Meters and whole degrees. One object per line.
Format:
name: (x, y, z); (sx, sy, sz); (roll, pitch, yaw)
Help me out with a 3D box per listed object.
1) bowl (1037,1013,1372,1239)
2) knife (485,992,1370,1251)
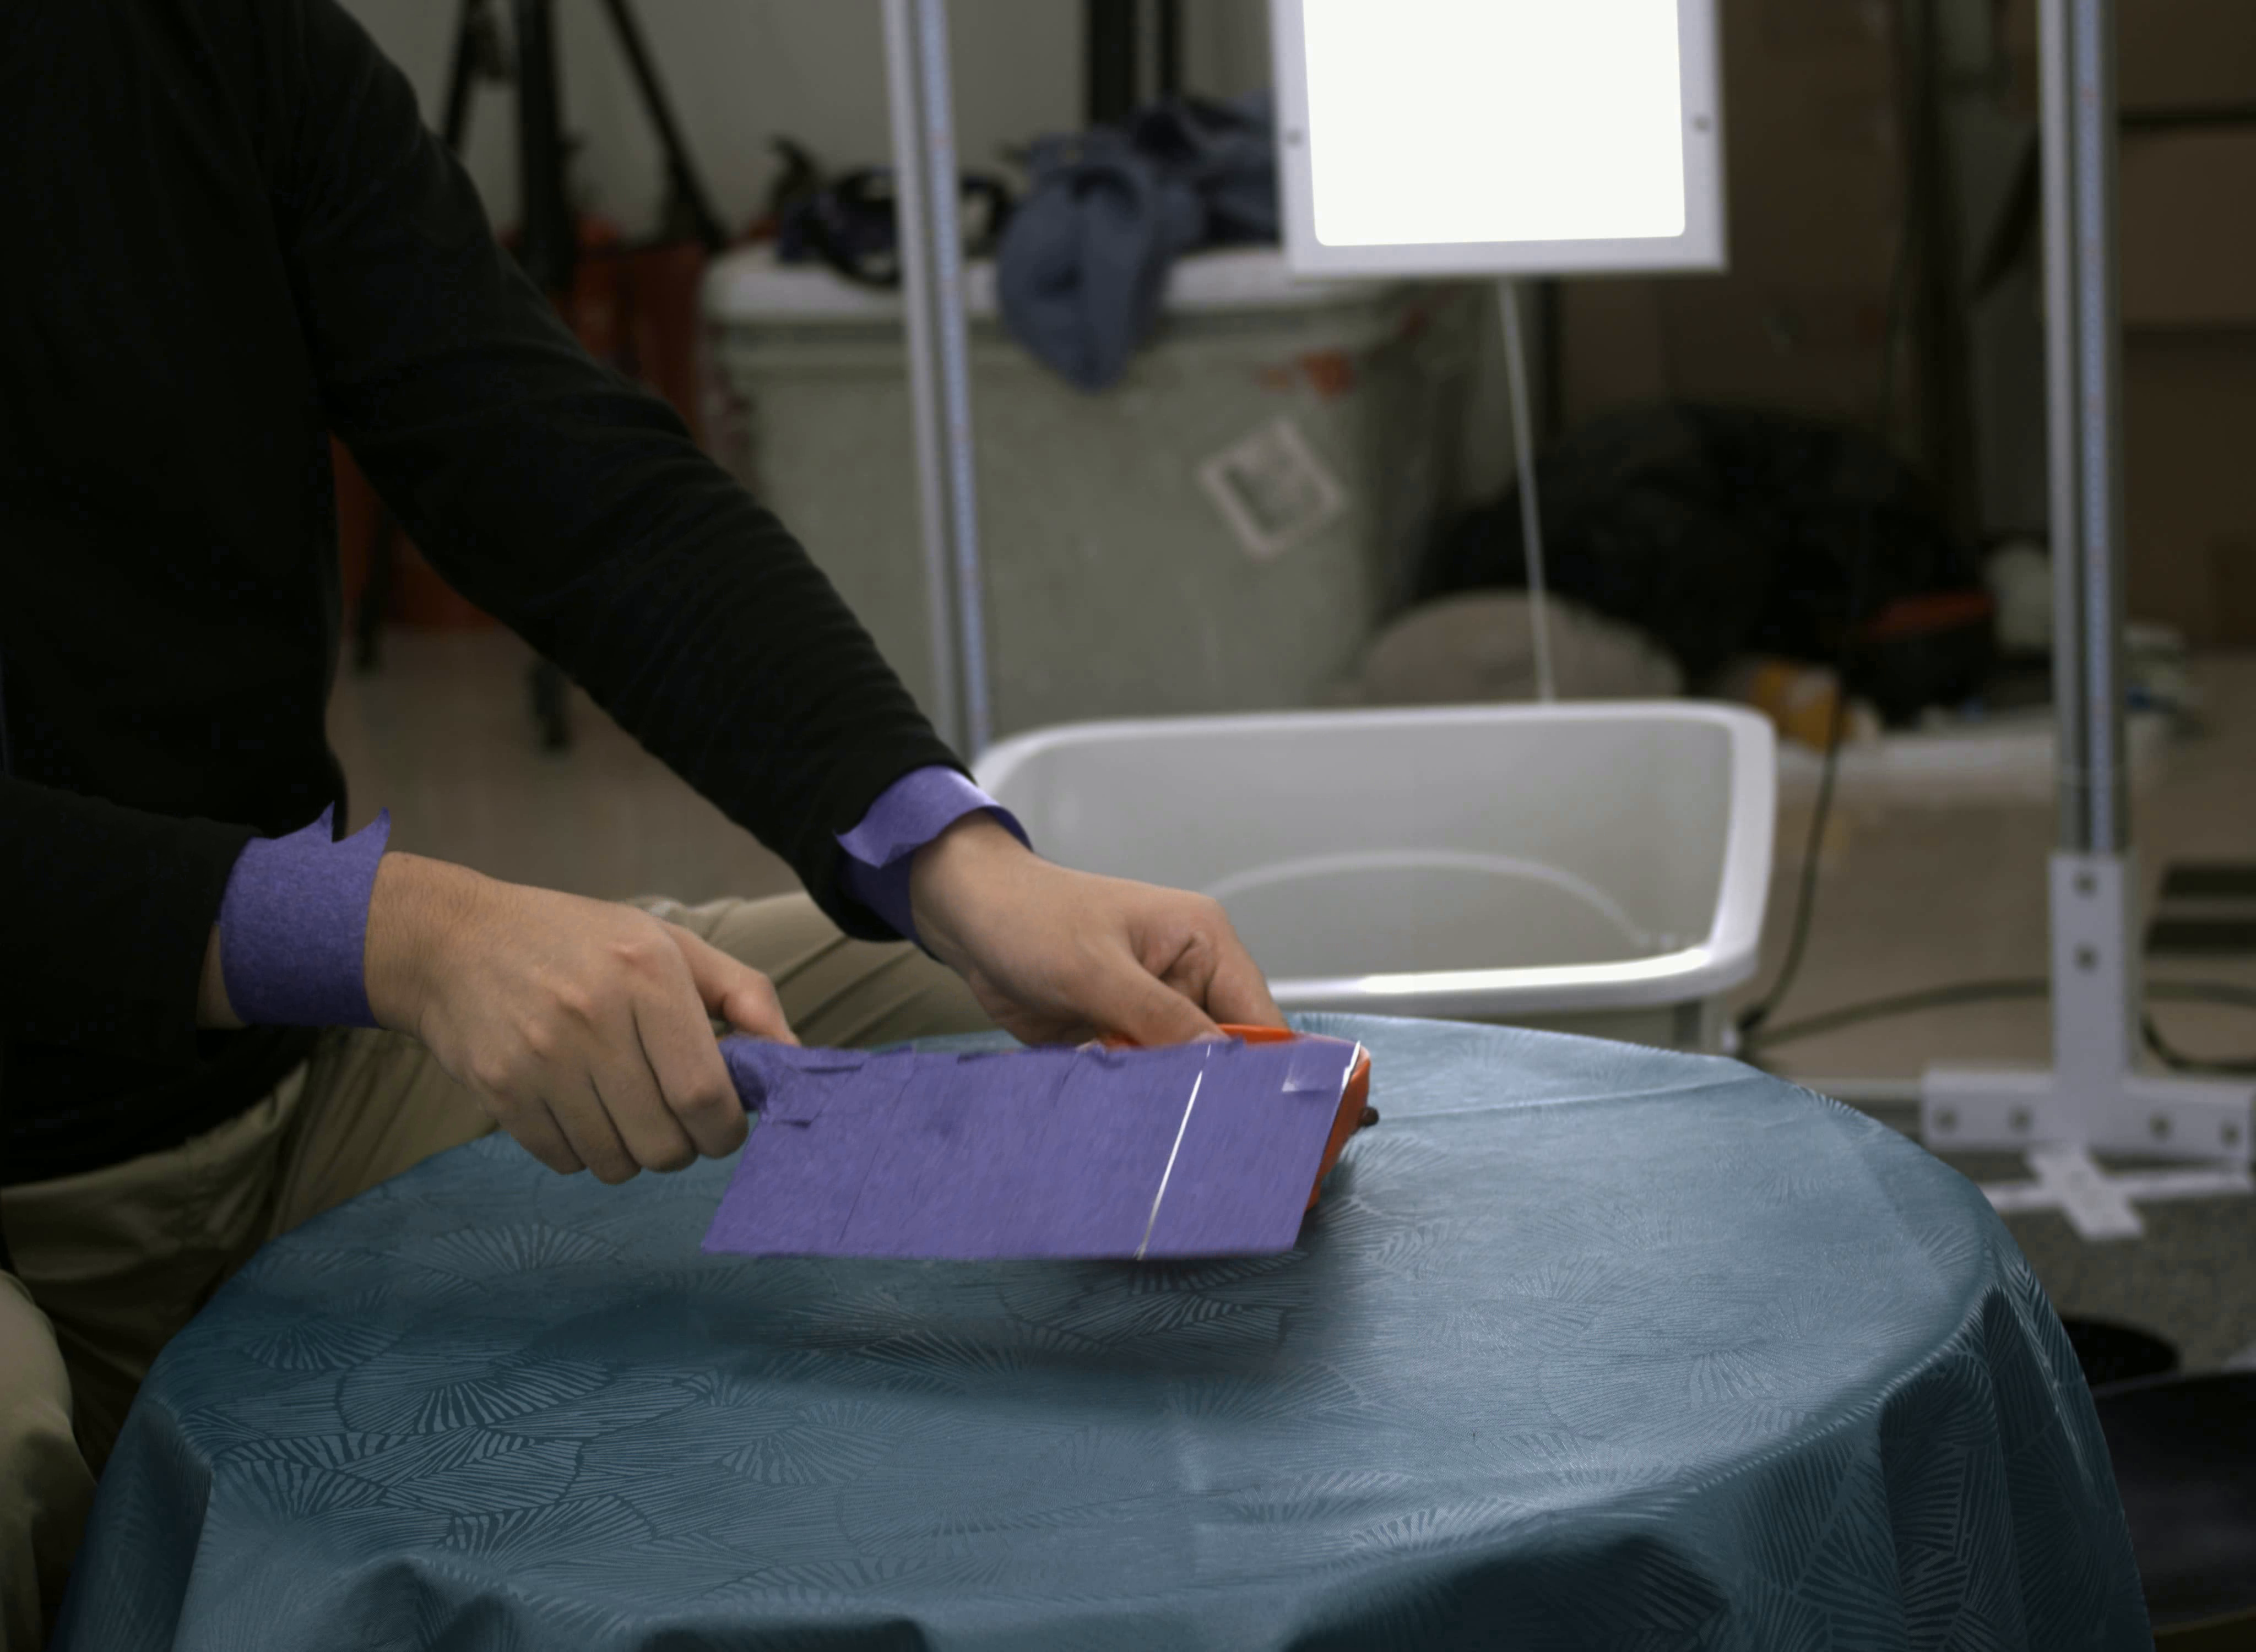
bowl: (0.025, 0.103, 1.864); (0.118, 0.051, 0.119); (-3, 15, 0)
knife: (-0.077, 0.097, 1.763); (0.321, 0.032, 0.102); (-5, 41, 27)
